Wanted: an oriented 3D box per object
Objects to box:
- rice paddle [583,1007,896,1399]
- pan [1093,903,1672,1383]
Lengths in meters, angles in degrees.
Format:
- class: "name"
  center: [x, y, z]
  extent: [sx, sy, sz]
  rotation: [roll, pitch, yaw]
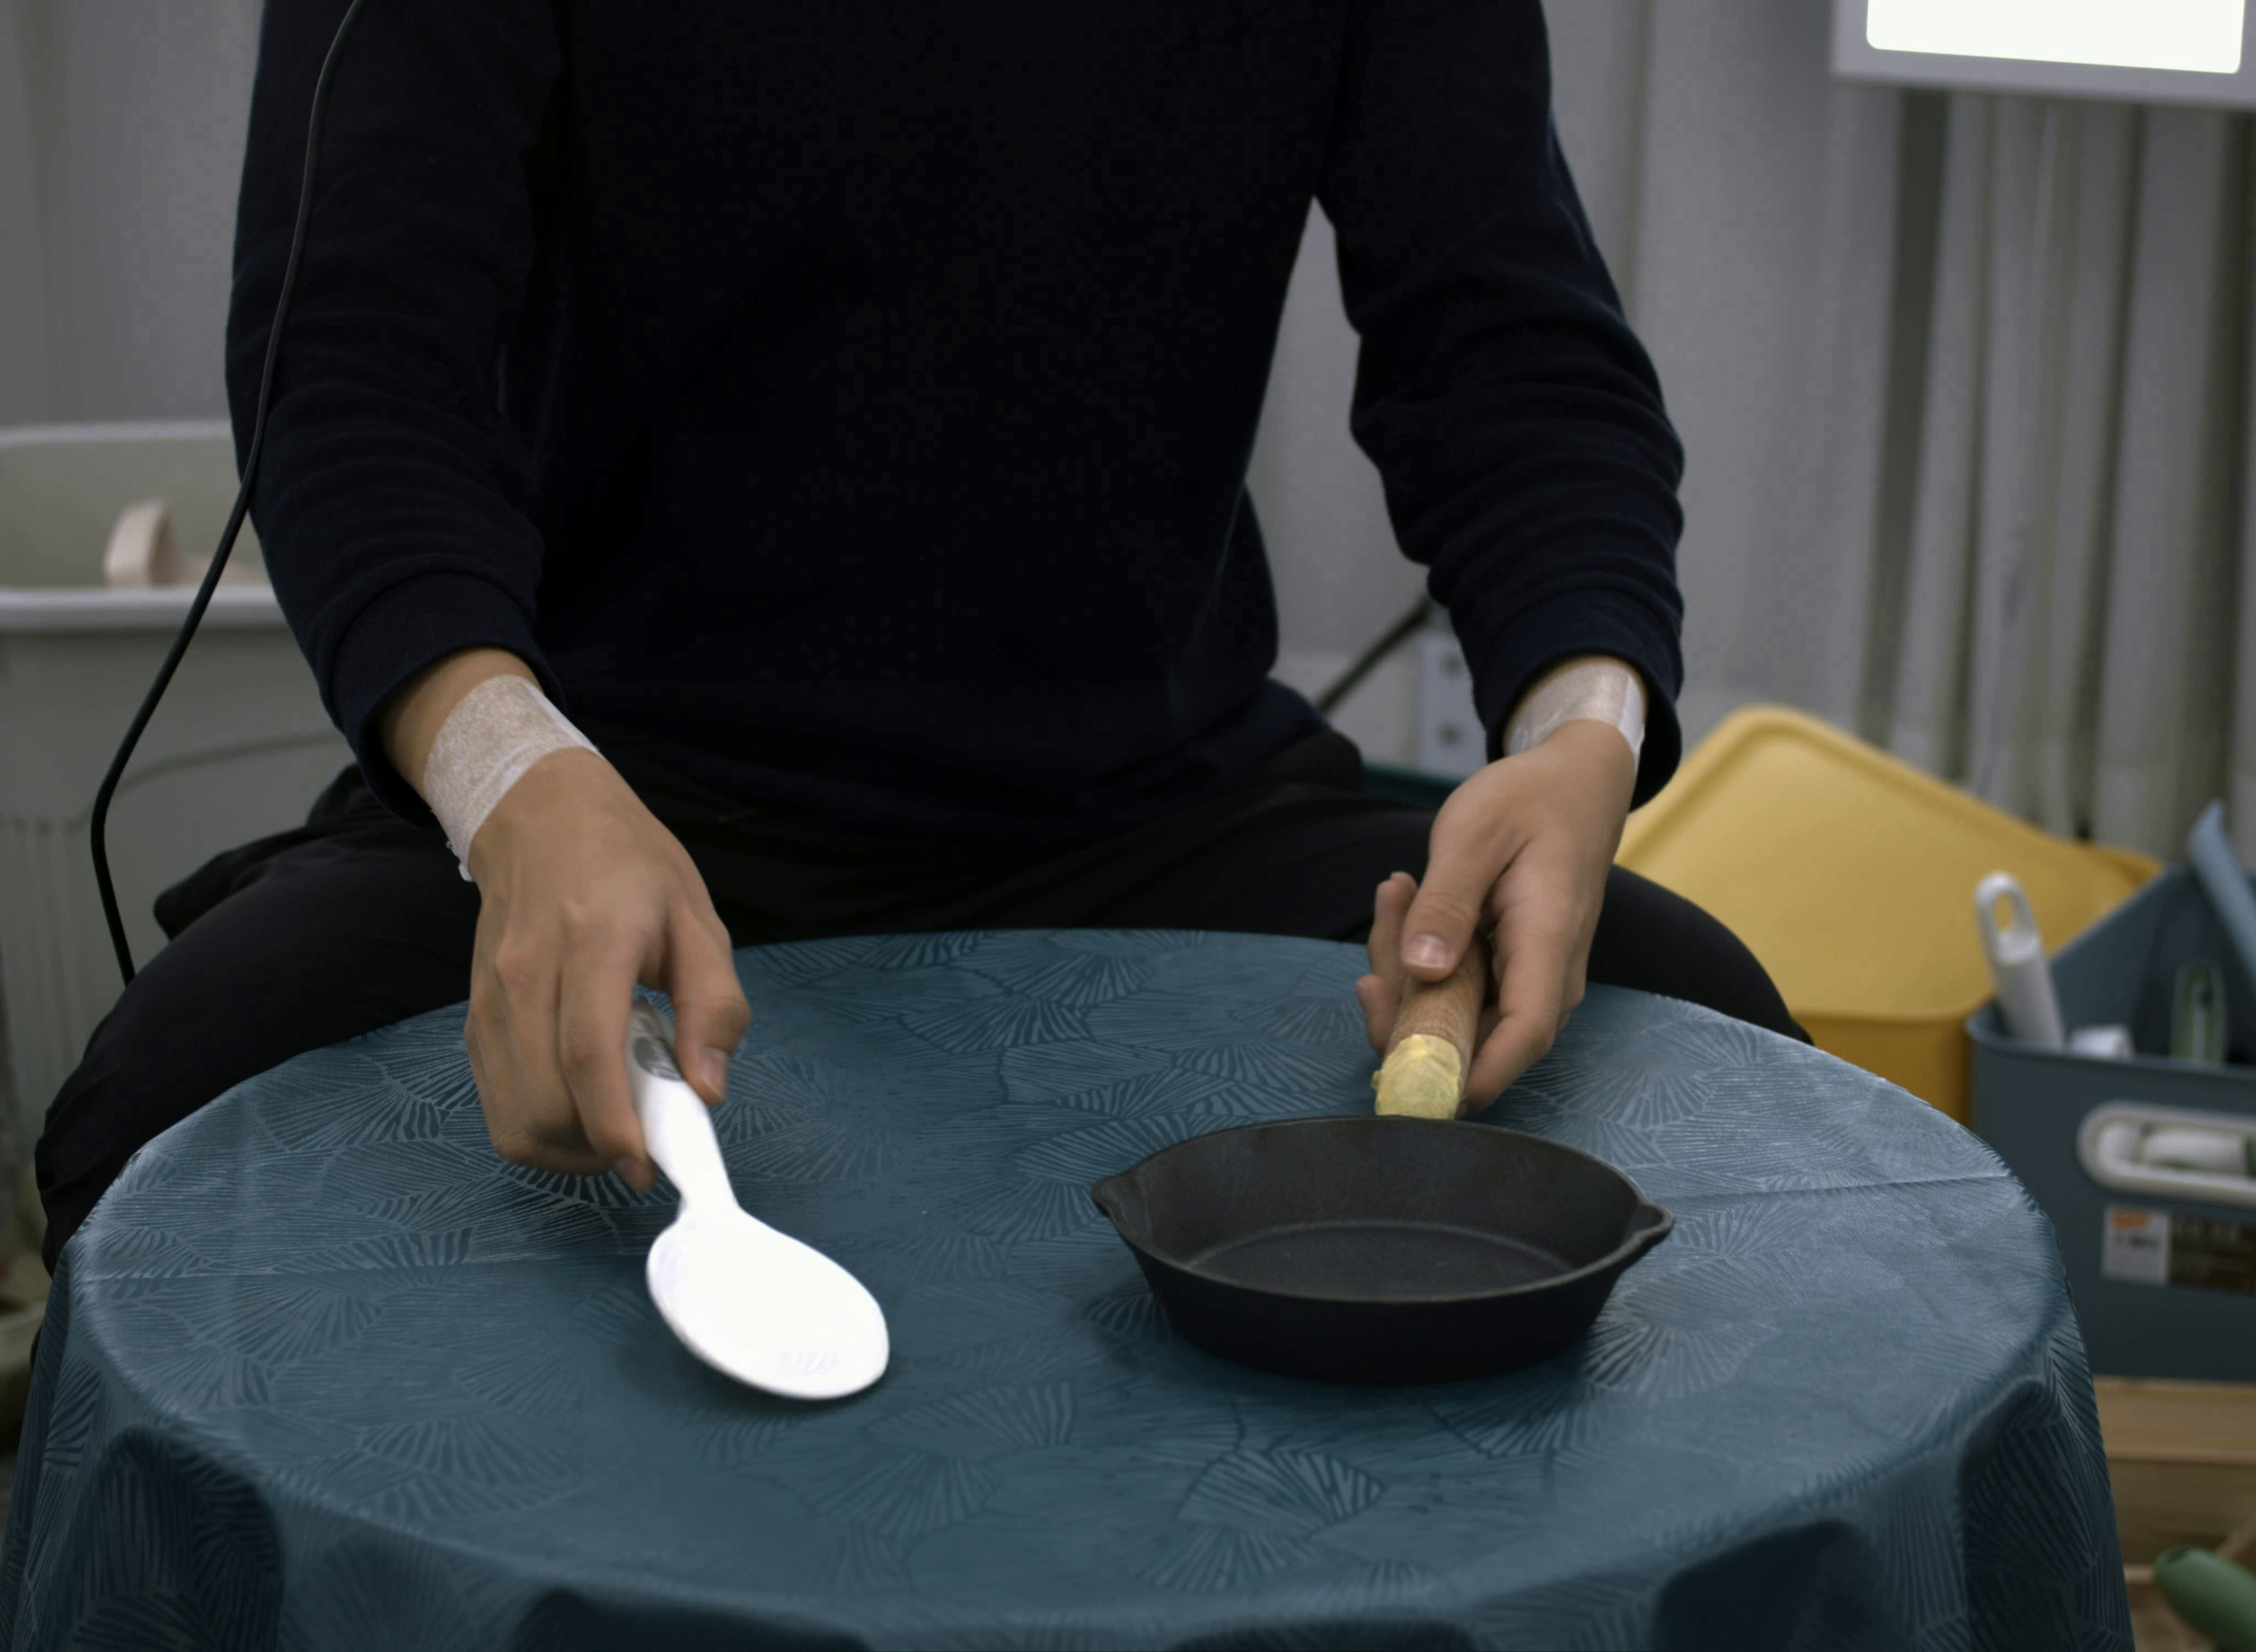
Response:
- class: "rice paddle"
  center: [-0.119, 0.111, 1.526]
  extent: [0.069, 0.029, 0.202]
  rotation: [-1, 26, -20]
- class: "pan"
  center: [0.089, 0.093, 1.601]
  extent: [0.168, 0.050, 0.323]
  rotation: [3, 18, 10]
